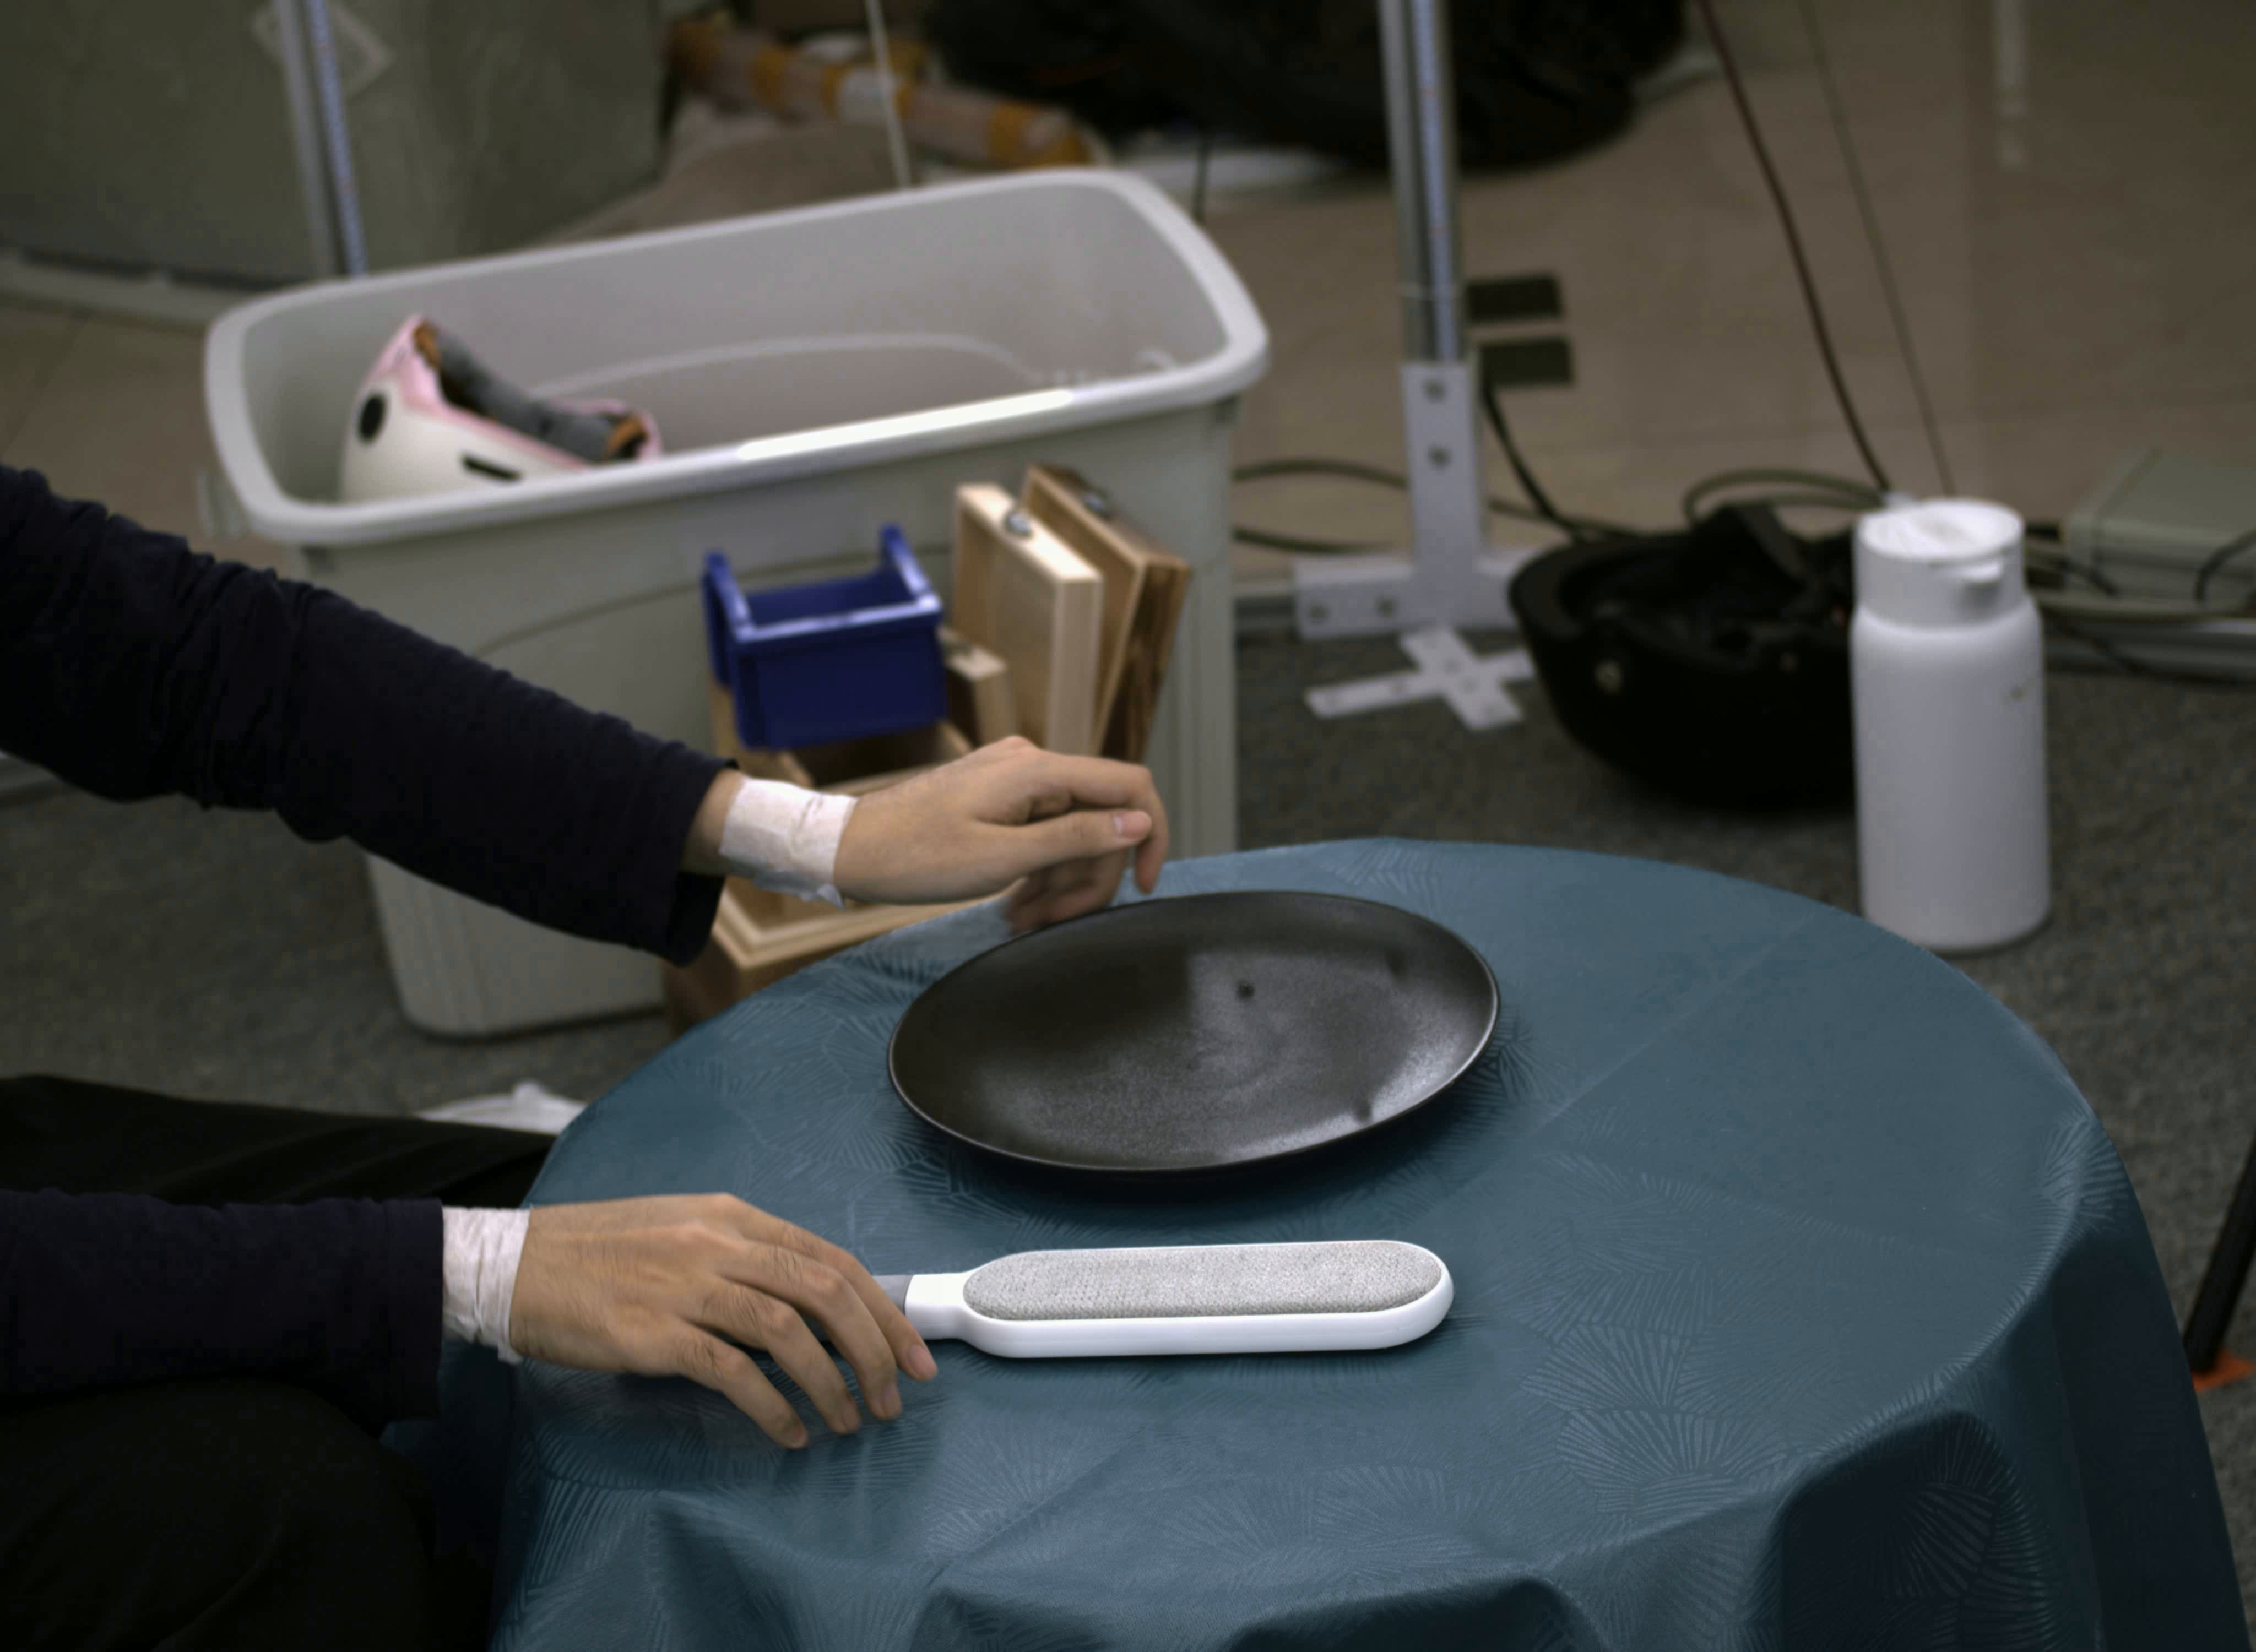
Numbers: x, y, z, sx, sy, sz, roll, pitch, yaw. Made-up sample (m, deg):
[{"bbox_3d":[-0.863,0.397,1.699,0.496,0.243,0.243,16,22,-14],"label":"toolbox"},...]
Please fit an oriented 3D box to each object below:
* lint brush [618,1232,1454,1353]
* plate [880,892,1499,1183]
[{"bbox_3d":[-0.036,0.170,2.061,0.308,0.021,0.059,-2,31,10],"label":"lint brush"},{"bbox_3d":[0.025,0.088,2.228,0.244,0.024,0.241,-5,25,3],"label":"plate"}]
